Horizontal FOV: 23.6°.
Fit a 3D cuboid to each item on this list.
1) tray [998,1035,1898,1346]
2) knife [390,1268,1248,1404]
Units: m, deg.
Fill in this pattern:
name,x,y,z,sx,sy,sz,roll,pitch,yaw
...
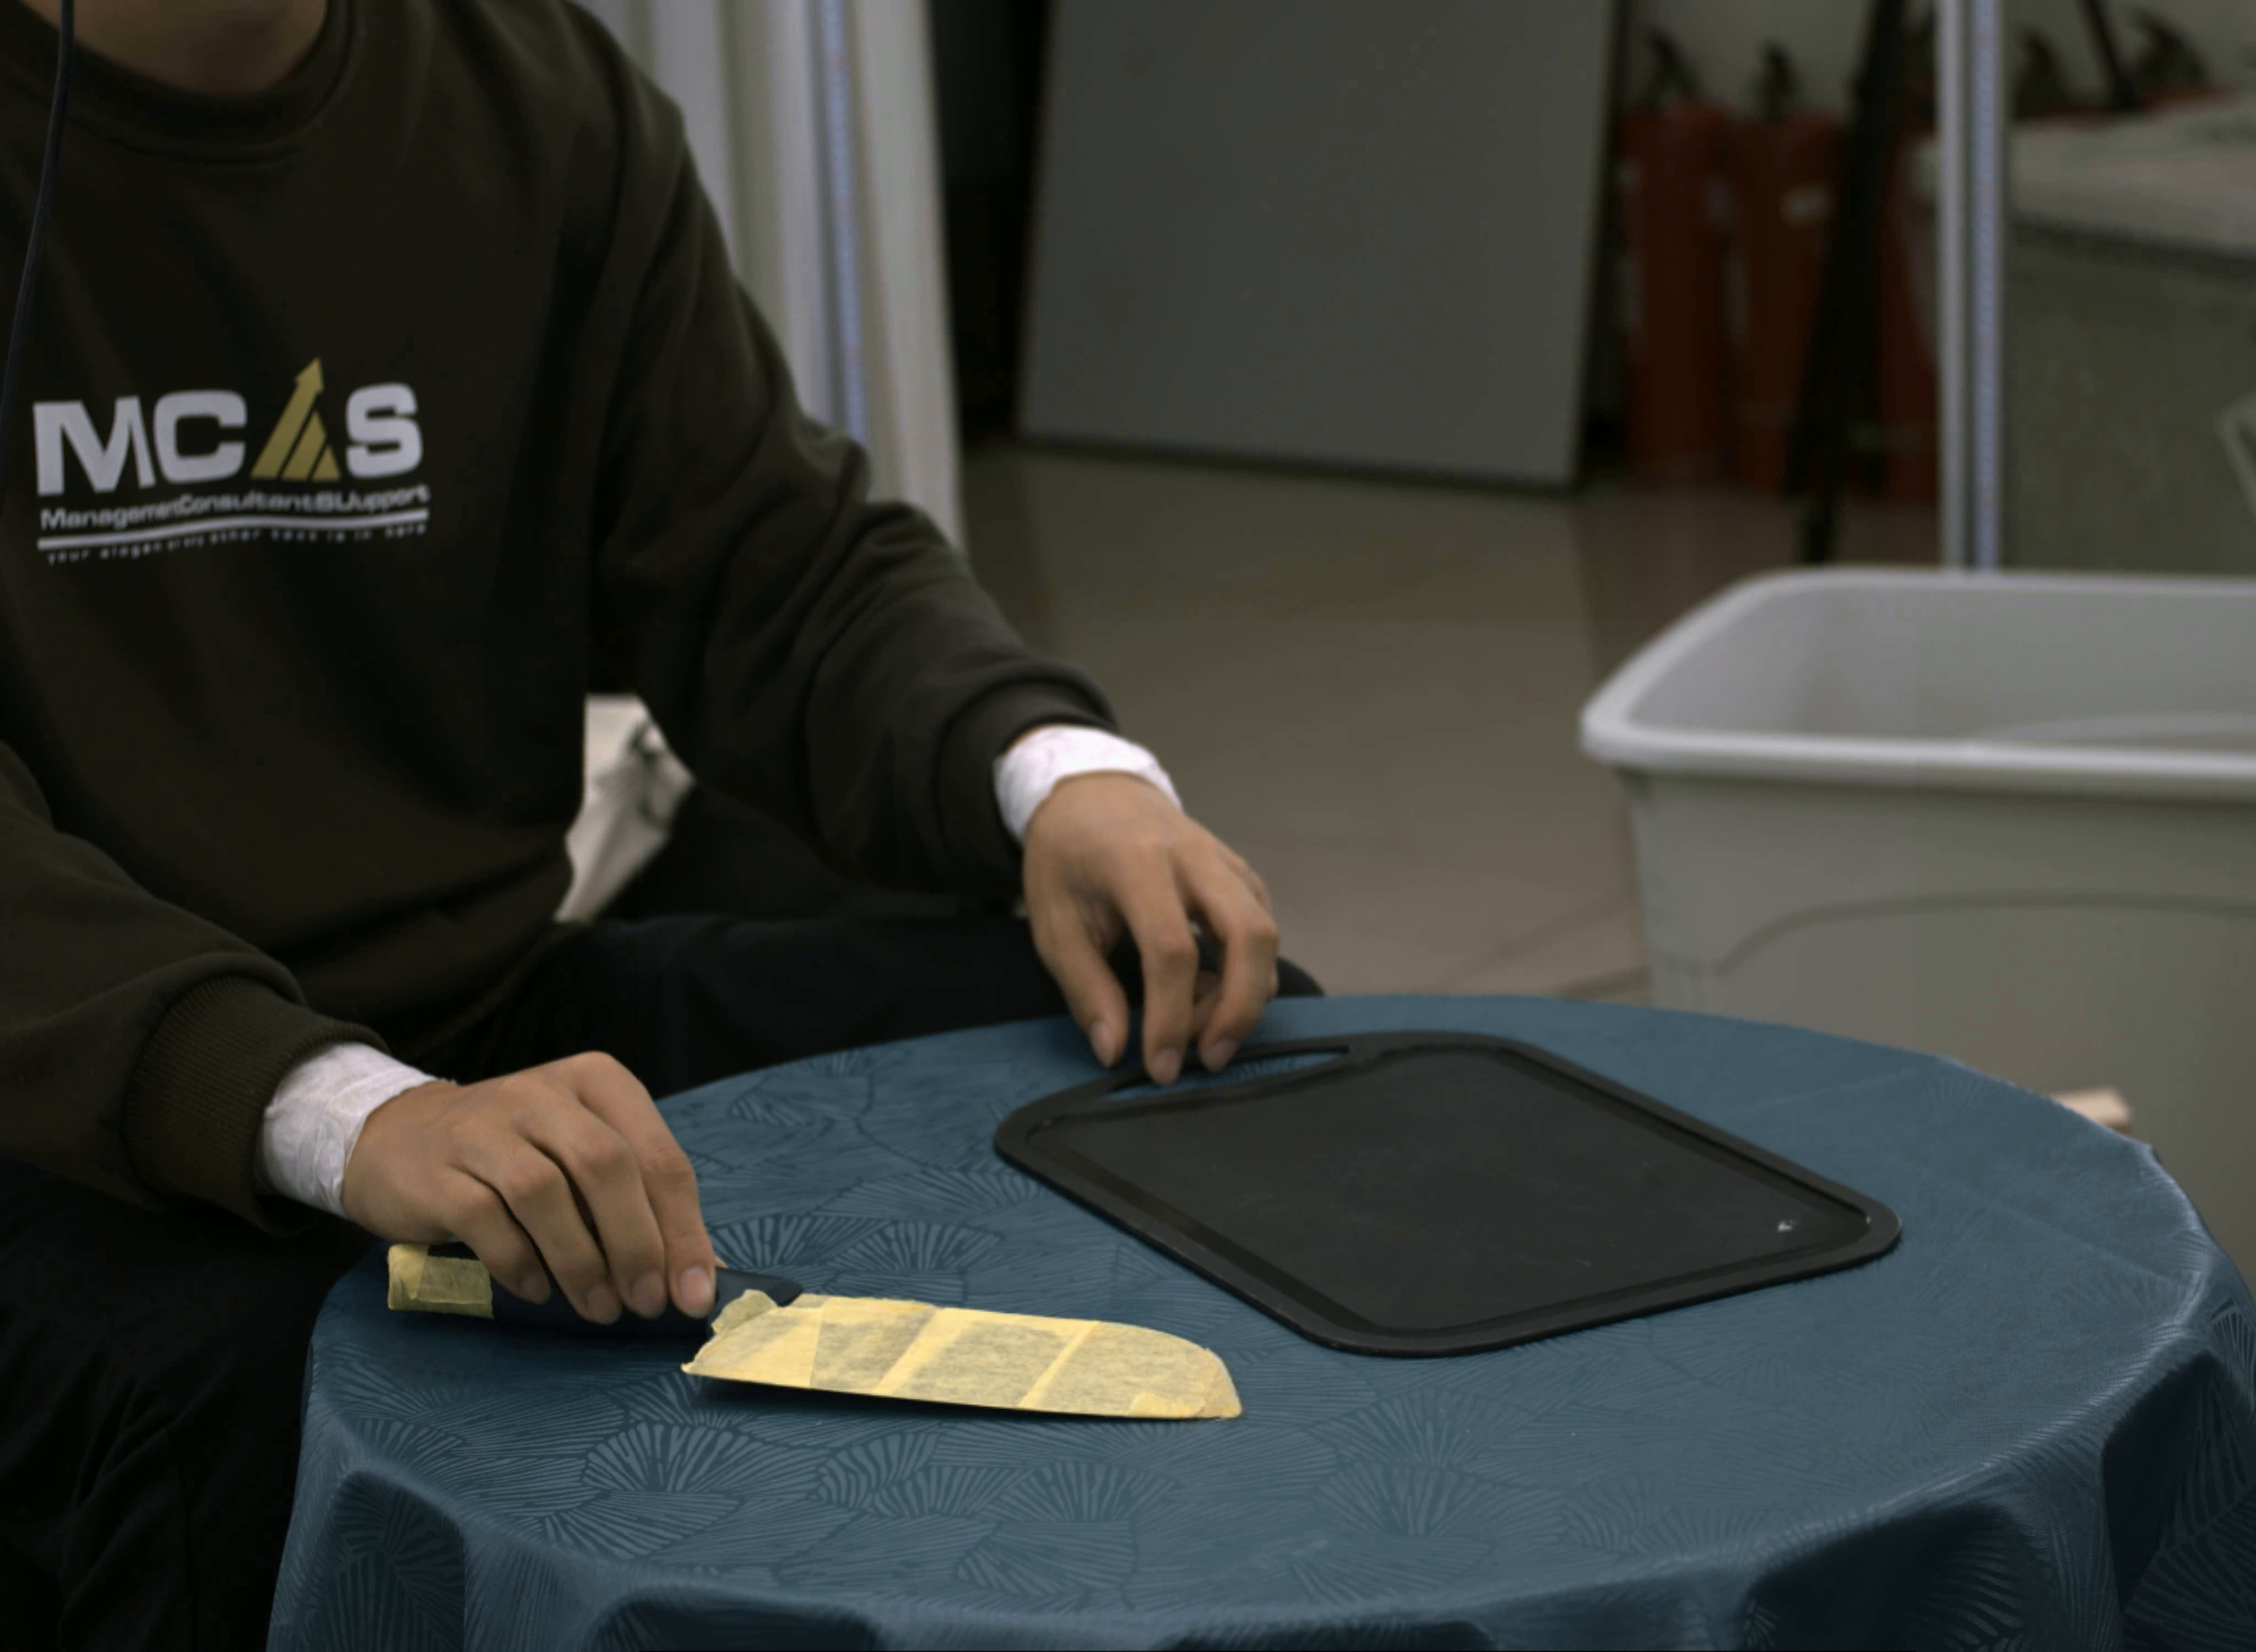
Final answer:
name,x,y,z,sx,sy,sz,roll,pitch,yaw
tray,0.094,0.113,1.766,0.206,0.010,0.329,-10,15,-23
knife,-0.099,0.157,1.626,0.289,0.027,0.080,2,13,21
